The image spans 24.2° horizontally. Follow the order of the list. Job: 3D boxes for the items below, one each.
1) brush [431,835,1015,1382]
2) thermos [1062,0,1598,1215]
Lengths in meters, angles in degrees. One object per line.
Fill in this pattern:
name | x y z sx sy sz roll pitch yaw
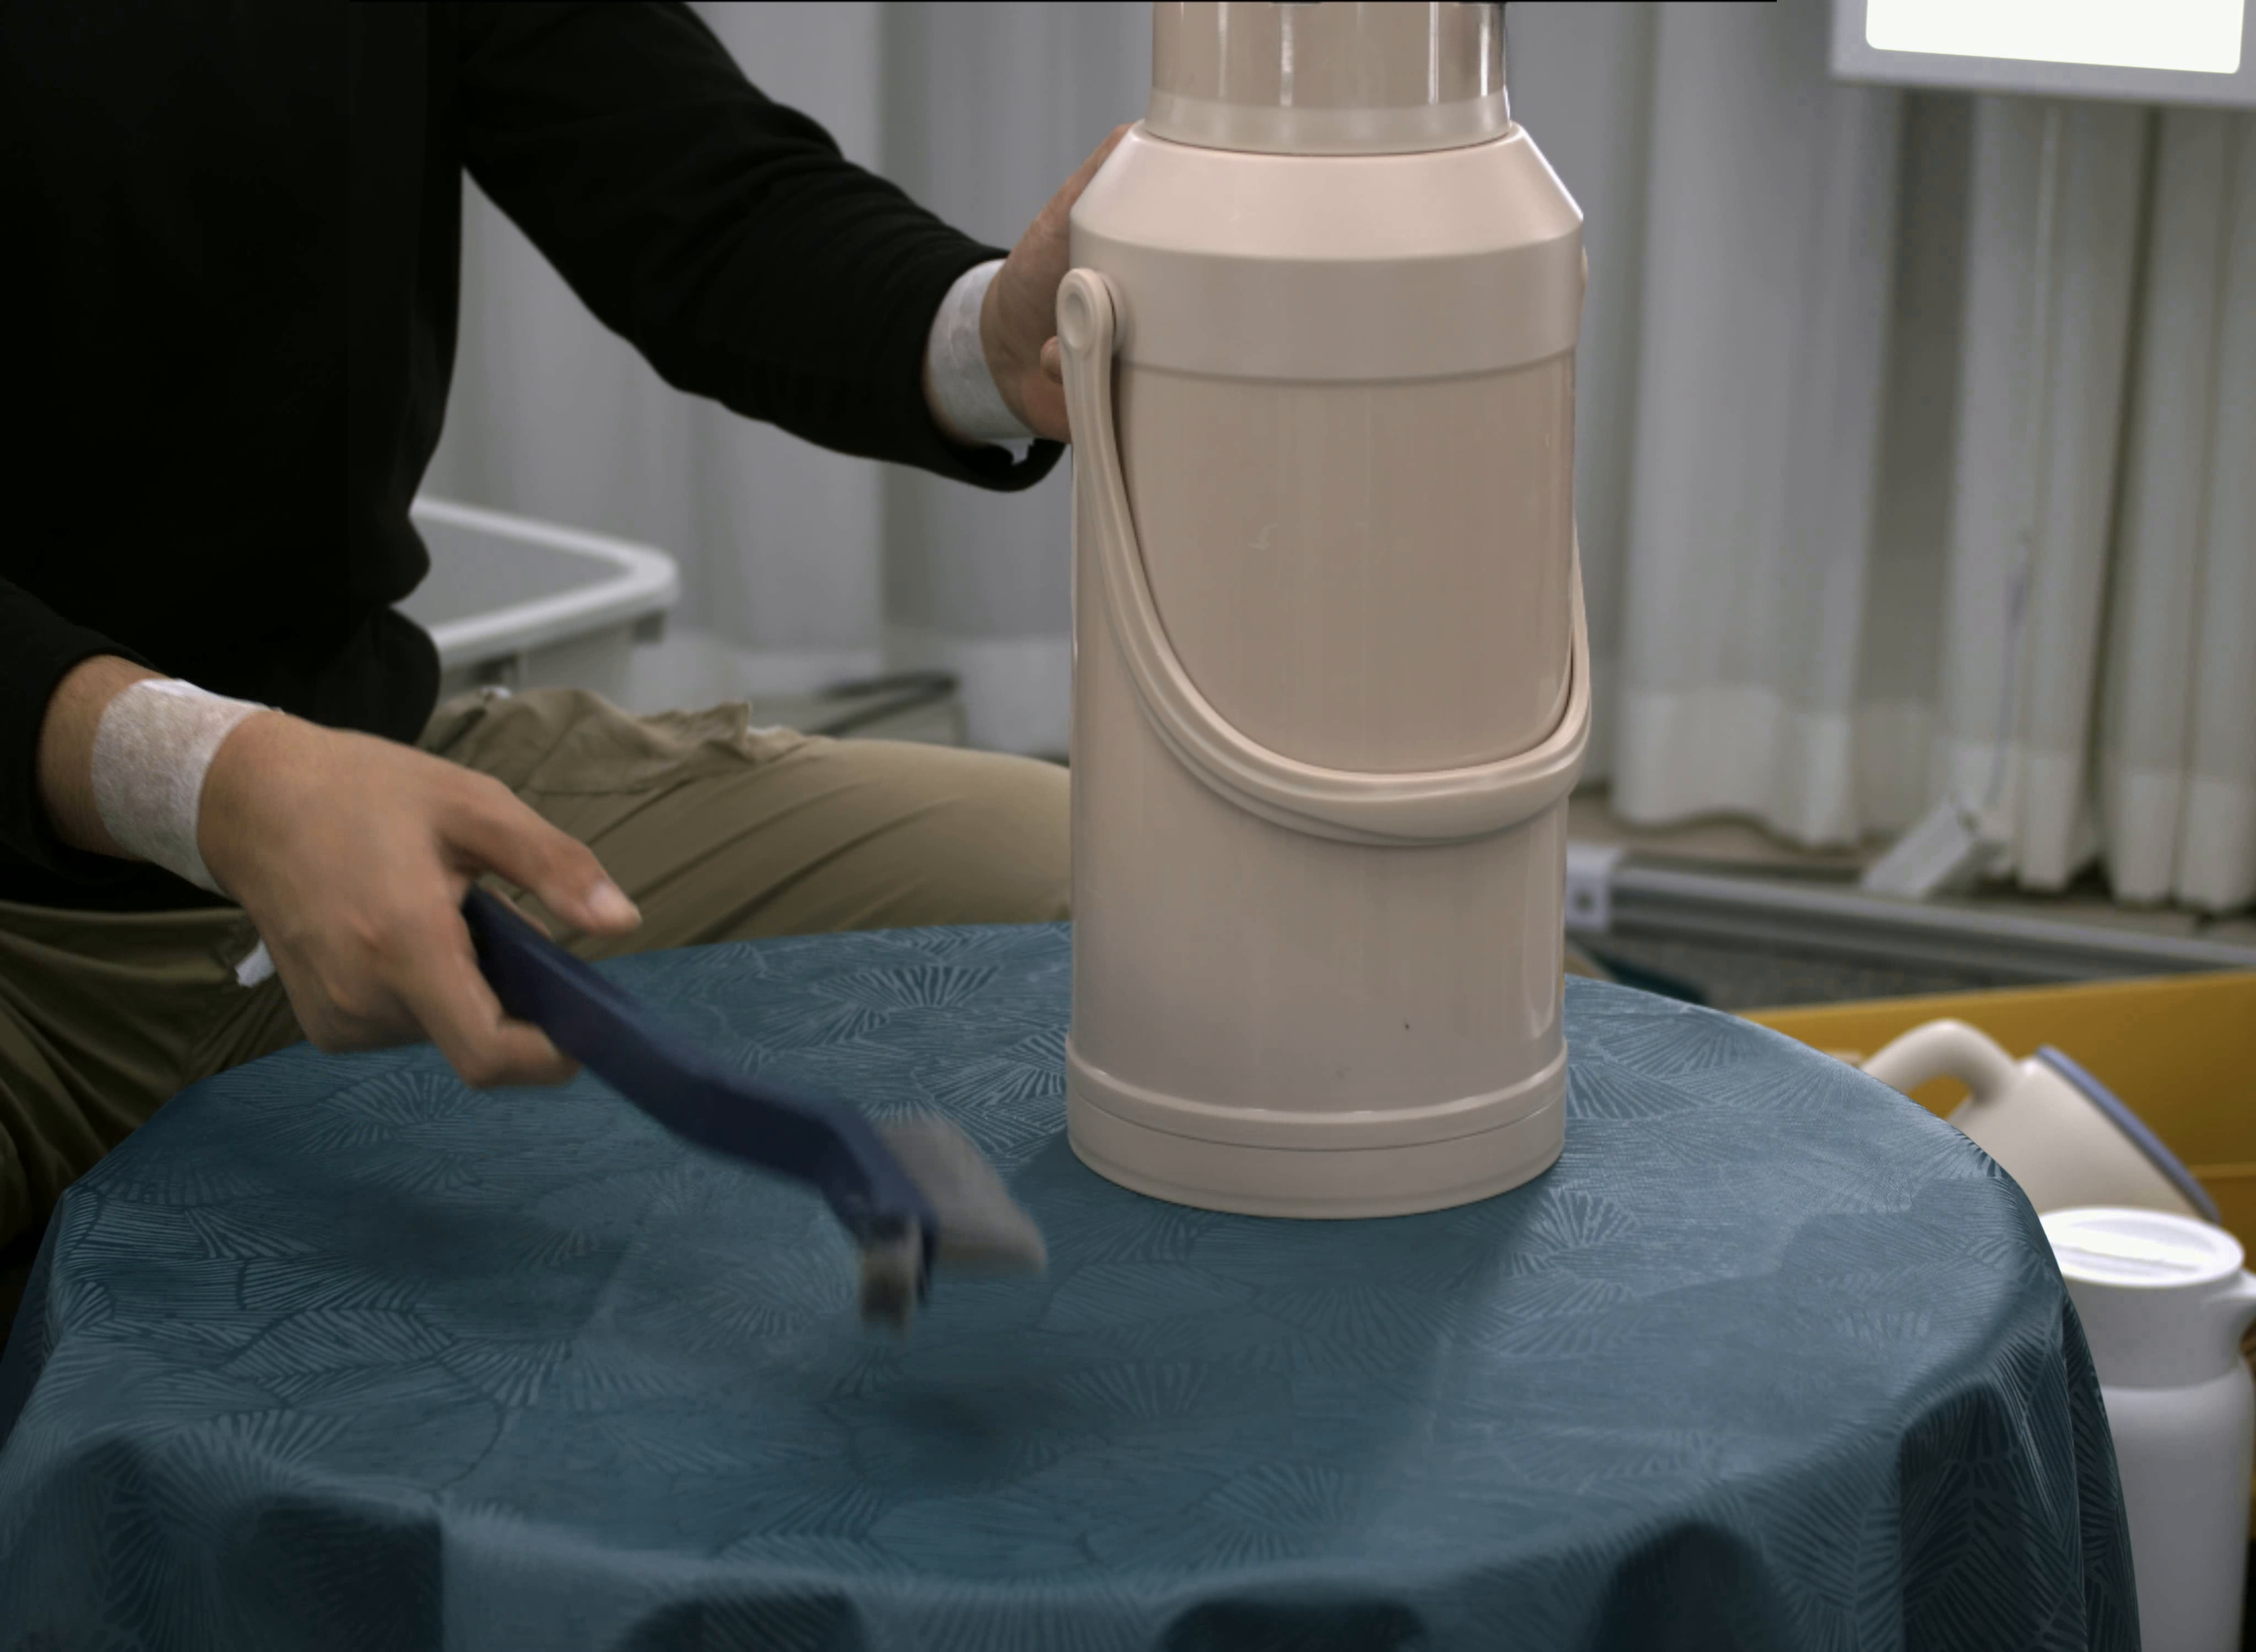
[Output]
brush | -0.133 0.074 1.479 0.269 0.034 0.096 29 28 36
thermos | 0.056 -0.096 1.630 0.176 0.410 0.204 -11 20 -29
